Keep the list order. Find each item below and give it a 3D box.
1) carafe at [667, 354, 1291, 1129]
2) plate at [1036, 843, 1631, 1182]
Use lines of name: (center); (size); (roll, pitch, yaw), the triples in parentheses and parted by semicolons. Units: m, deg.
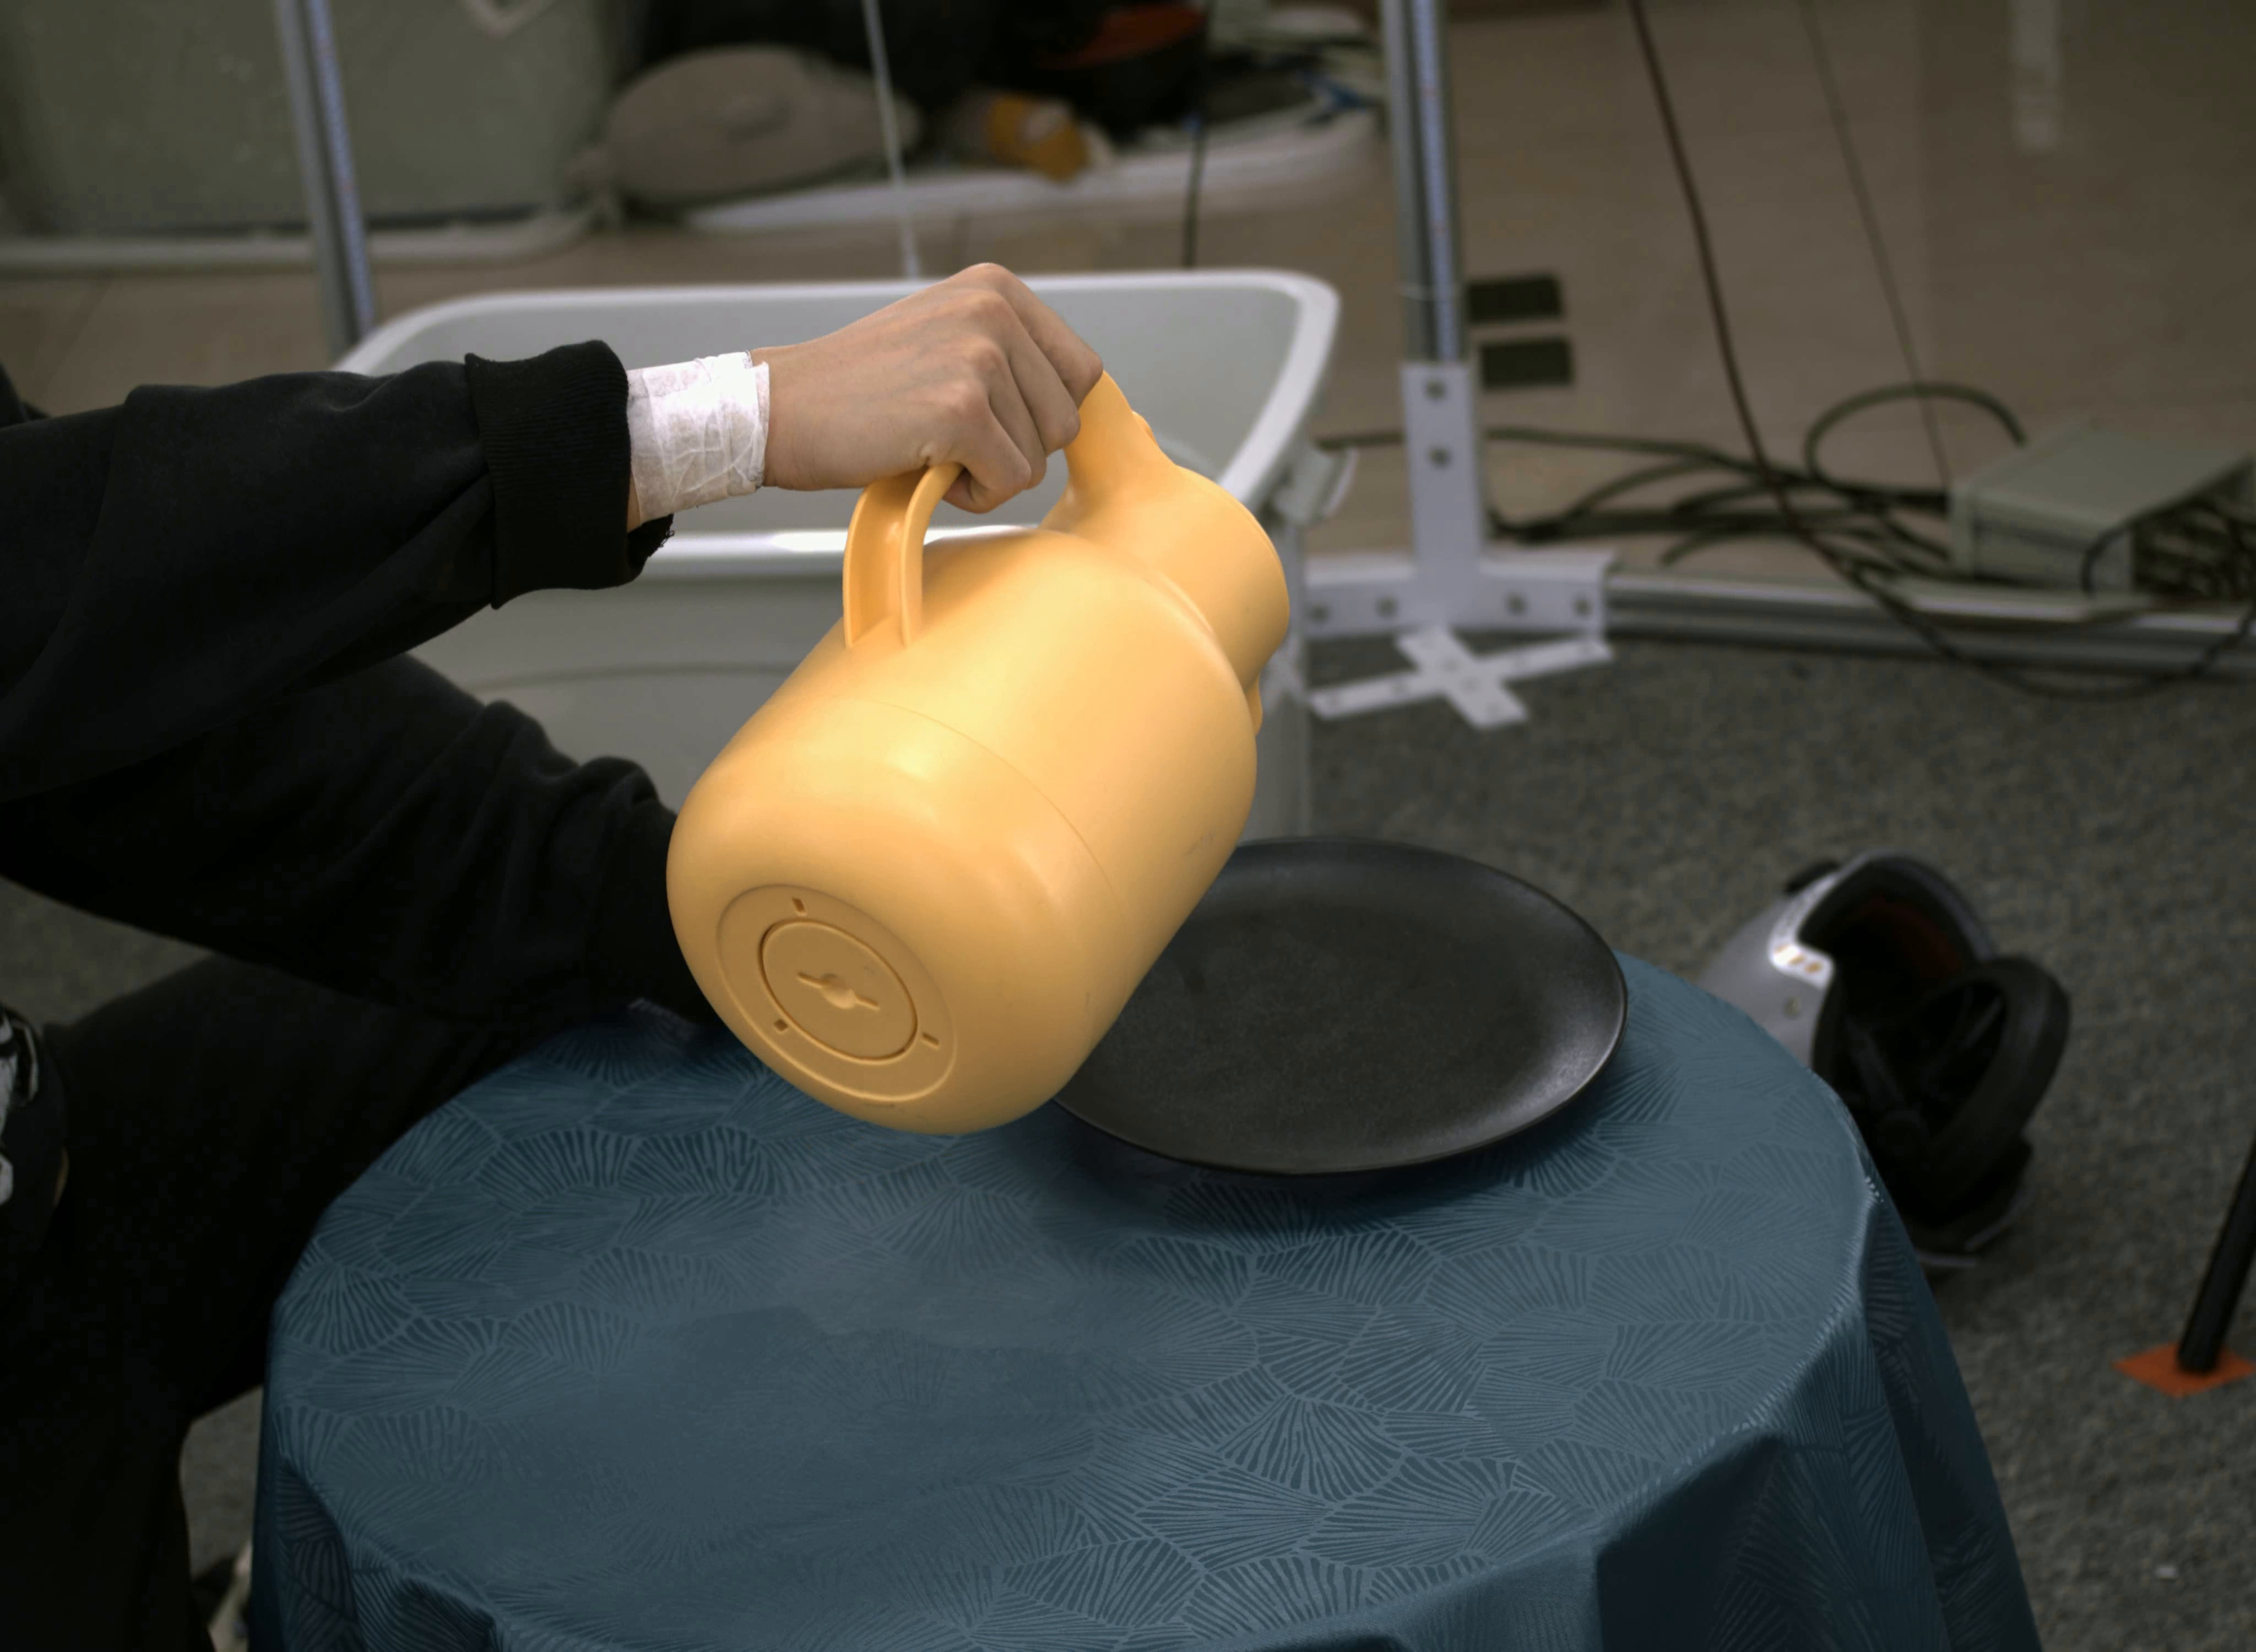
carafe: (-0.046, -0.039, 1.978); (0.163, 0.205, 0.256); (-2, 35, 36)
plate: (0.074, 0.076, 2.211); (0.244, 0.024, 0.240); (-1, 31, 1)
